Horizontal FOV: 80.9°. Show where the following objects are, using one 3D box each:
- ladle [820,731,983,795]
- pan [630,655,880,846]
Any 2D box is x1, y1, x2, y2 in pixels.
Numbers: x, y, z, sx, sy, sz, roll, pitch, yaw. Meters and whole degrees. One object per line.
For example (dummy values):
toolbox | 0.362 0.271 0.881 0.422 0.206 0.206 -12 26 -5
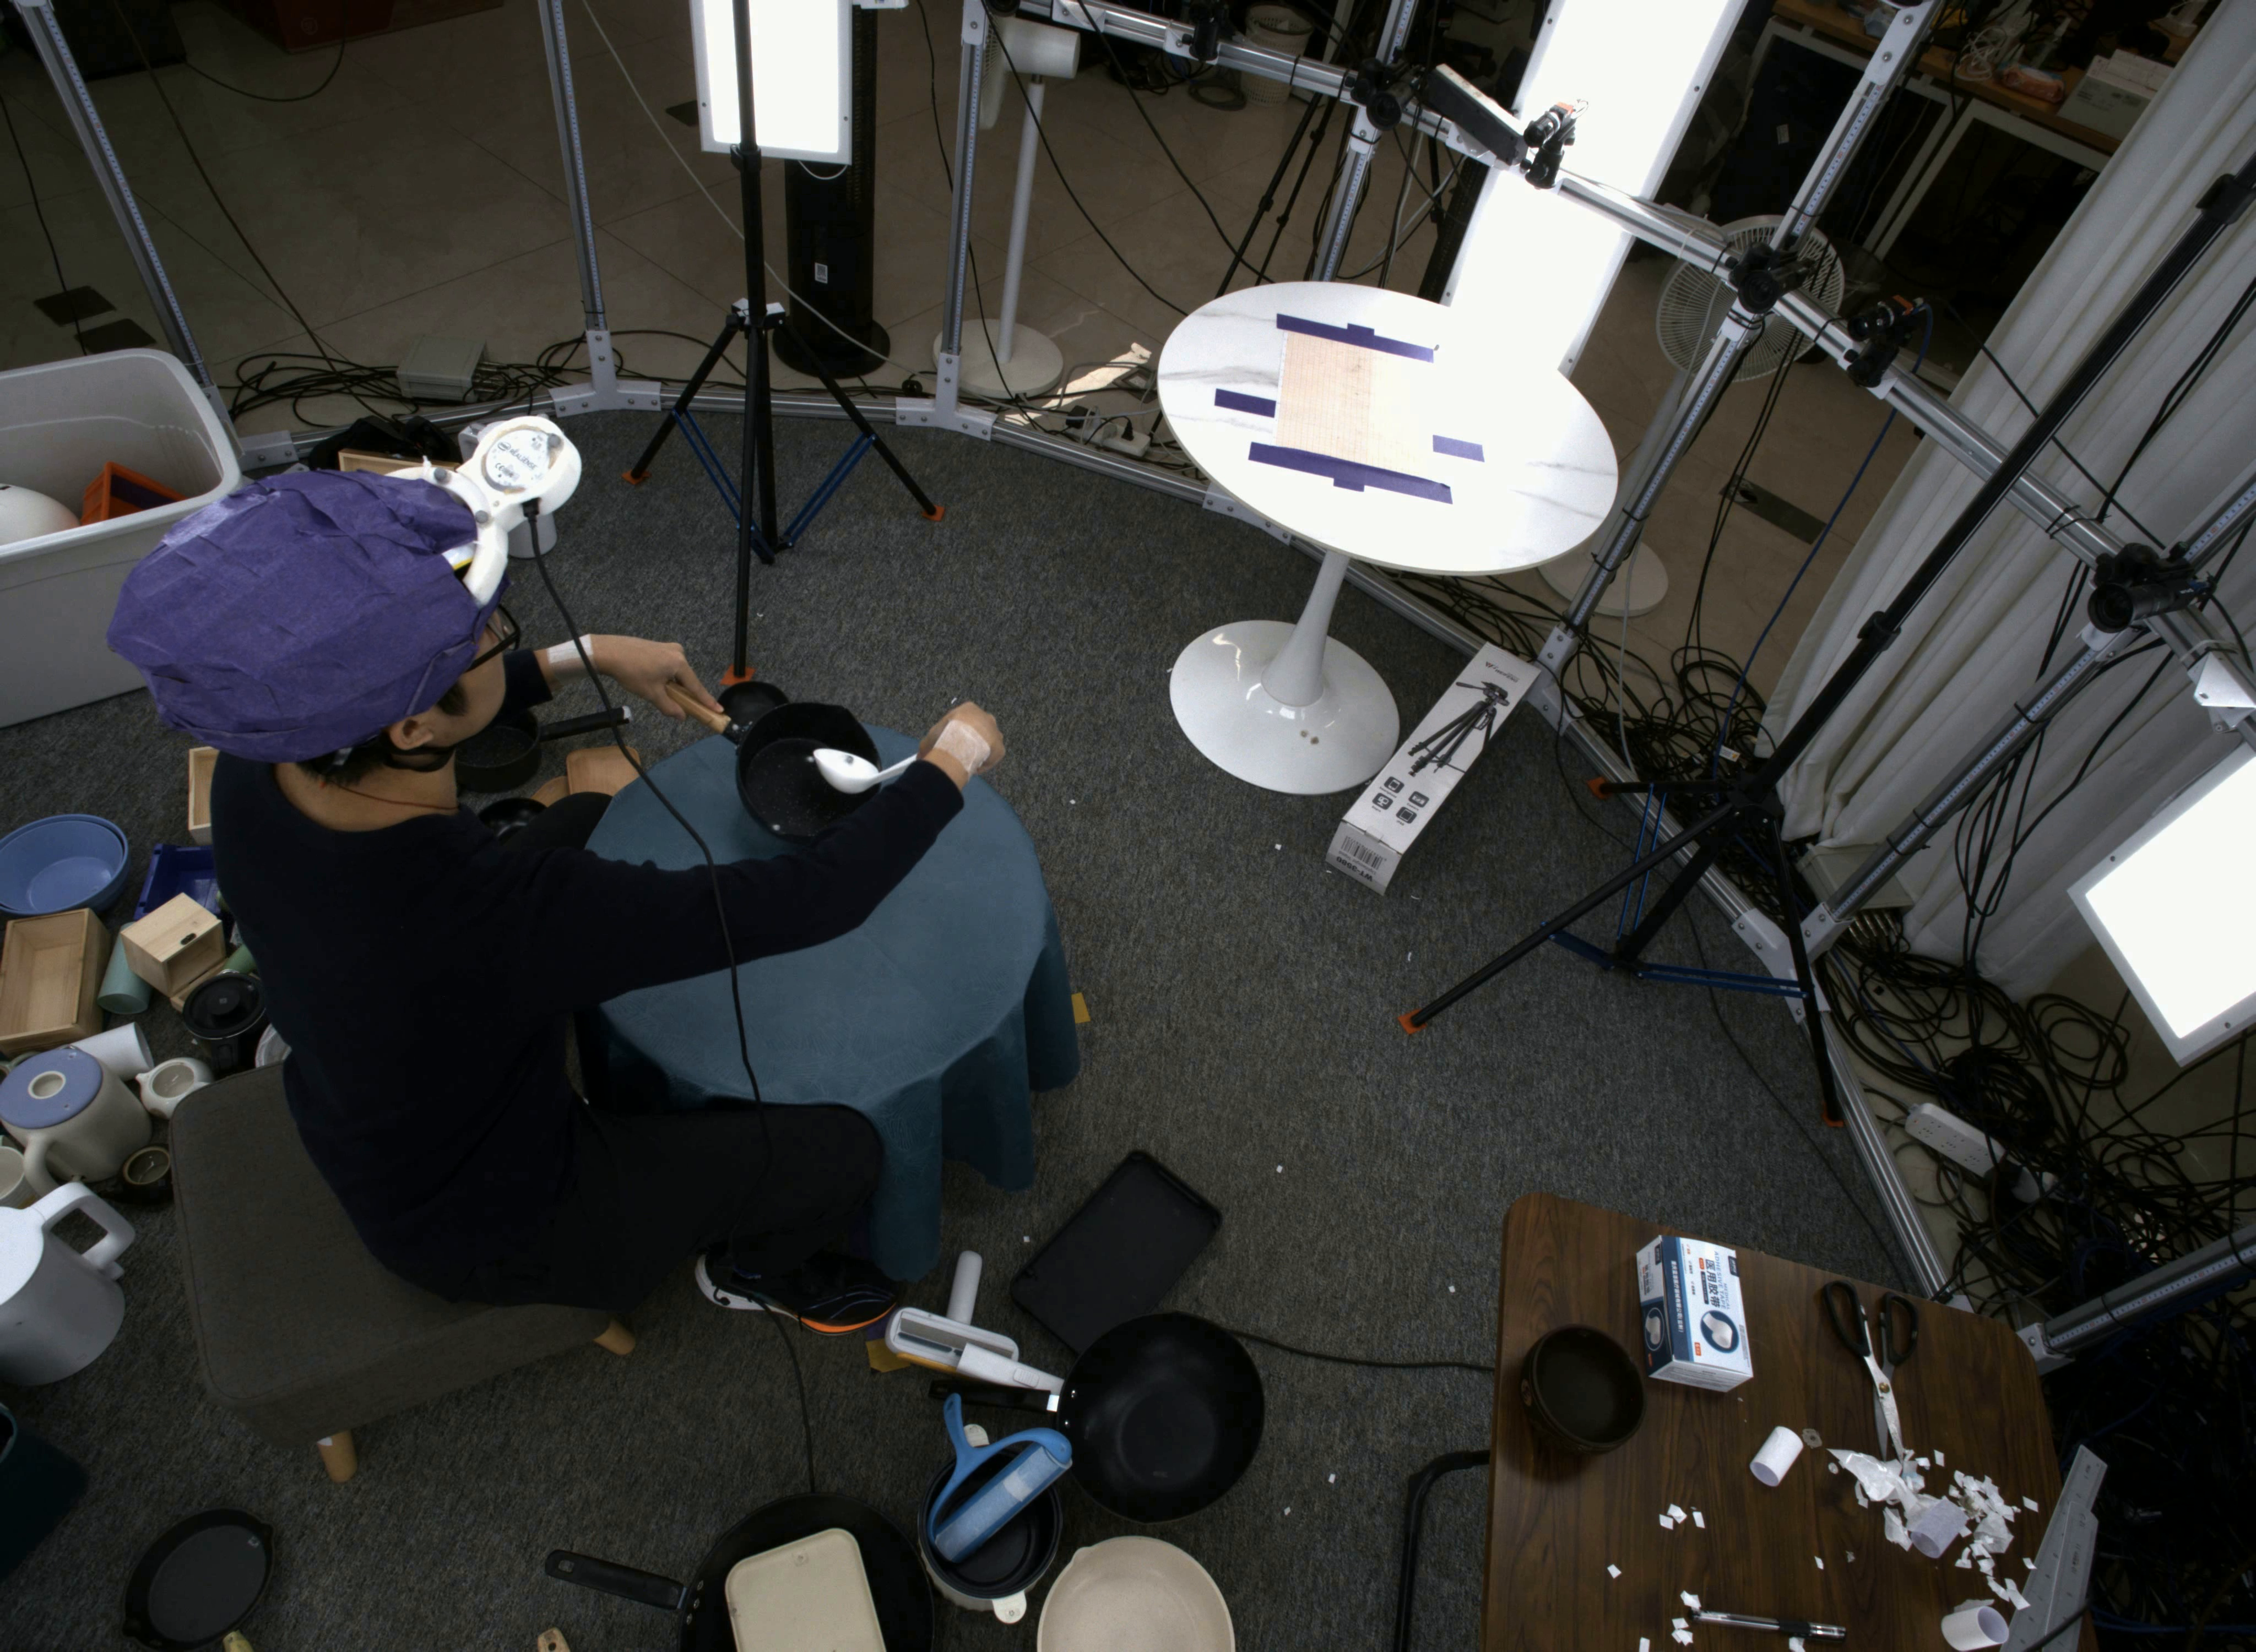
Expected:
ladle | -0.278 -0.089 1.597 0.093 0.285 0.070 21 66 -42
pan | -0.485 -0.103 1.646 0.348 0.107 0.206 29 63 -17
